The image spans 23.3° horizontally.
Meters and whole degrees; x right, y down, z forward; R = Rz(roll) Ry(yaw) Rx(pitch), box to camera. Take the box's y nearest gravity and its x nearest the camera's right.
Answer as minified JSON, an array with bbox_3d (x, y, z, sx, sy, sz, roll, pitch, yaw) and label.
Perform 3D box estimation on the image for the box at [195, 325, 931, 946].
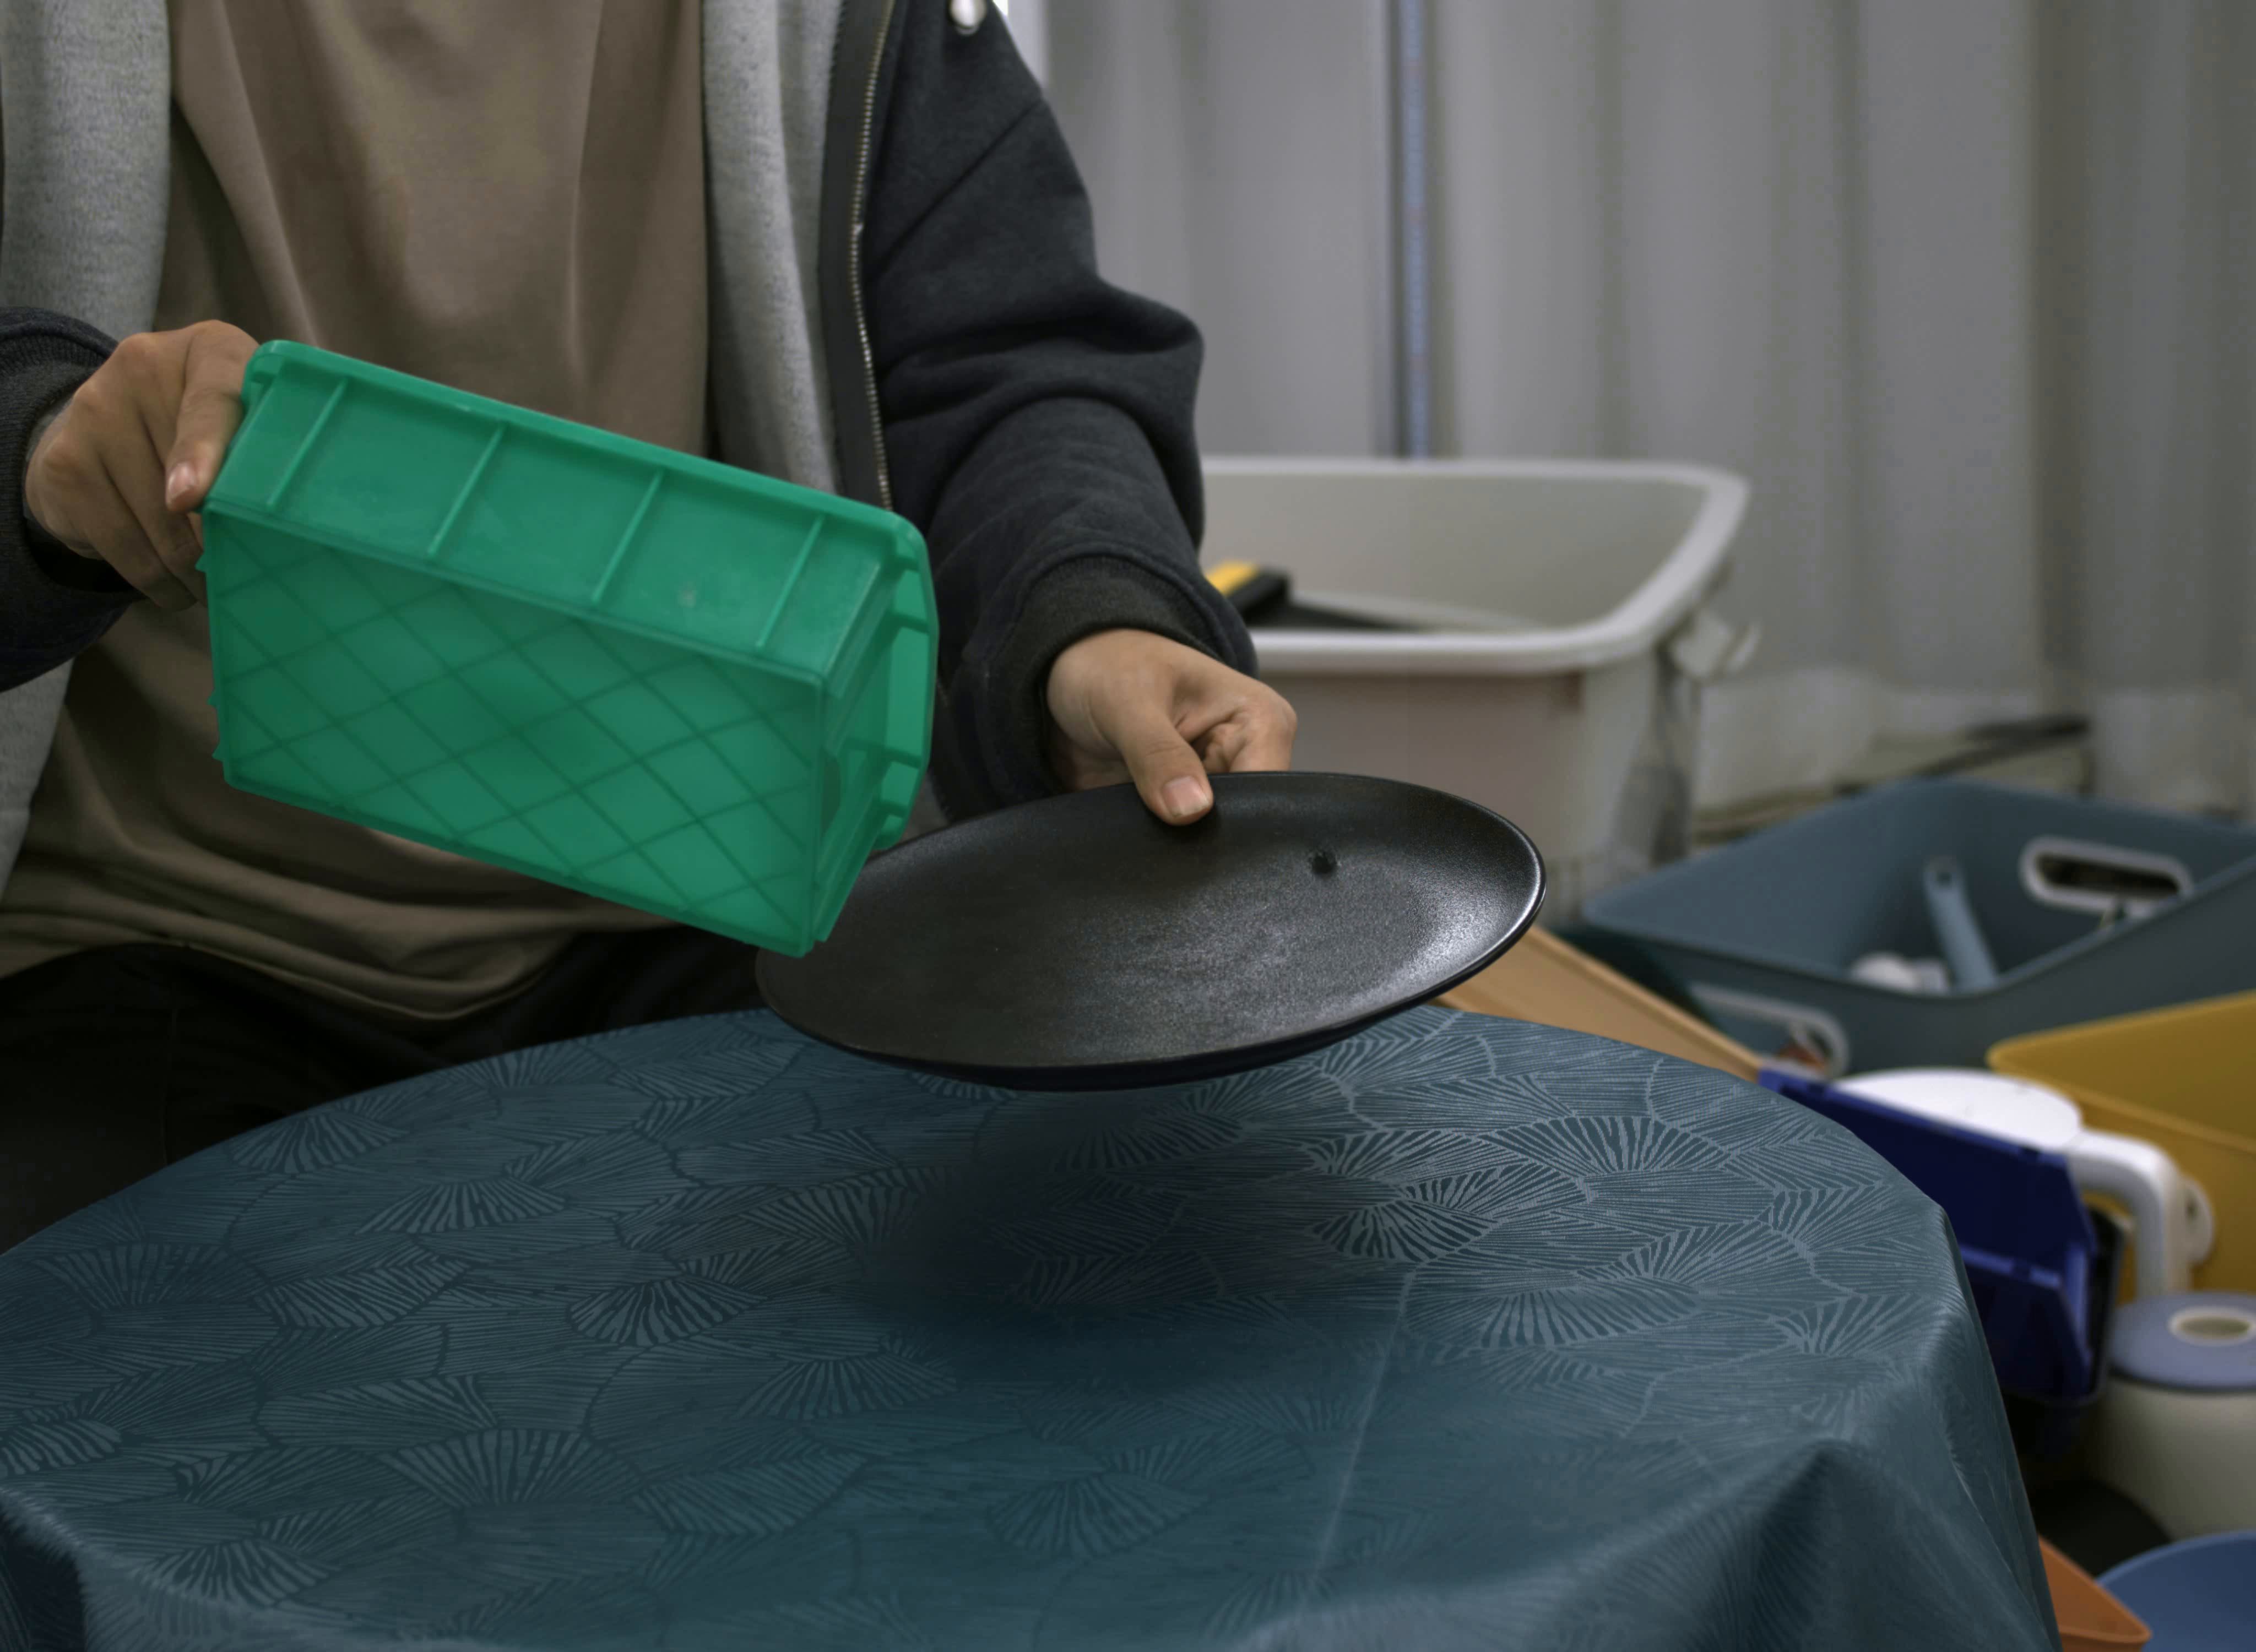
[{"bbox_3d":[-0.165,-0.049,1.542,0.210,0.137,0.066,16,47,7],"label":"box"}]

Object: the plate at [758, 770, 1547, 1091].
[{"bbox_3d":[0.008,0.035,1.673,0.243,0.023,0.246,-7,20,2],"label":"plate"}]
